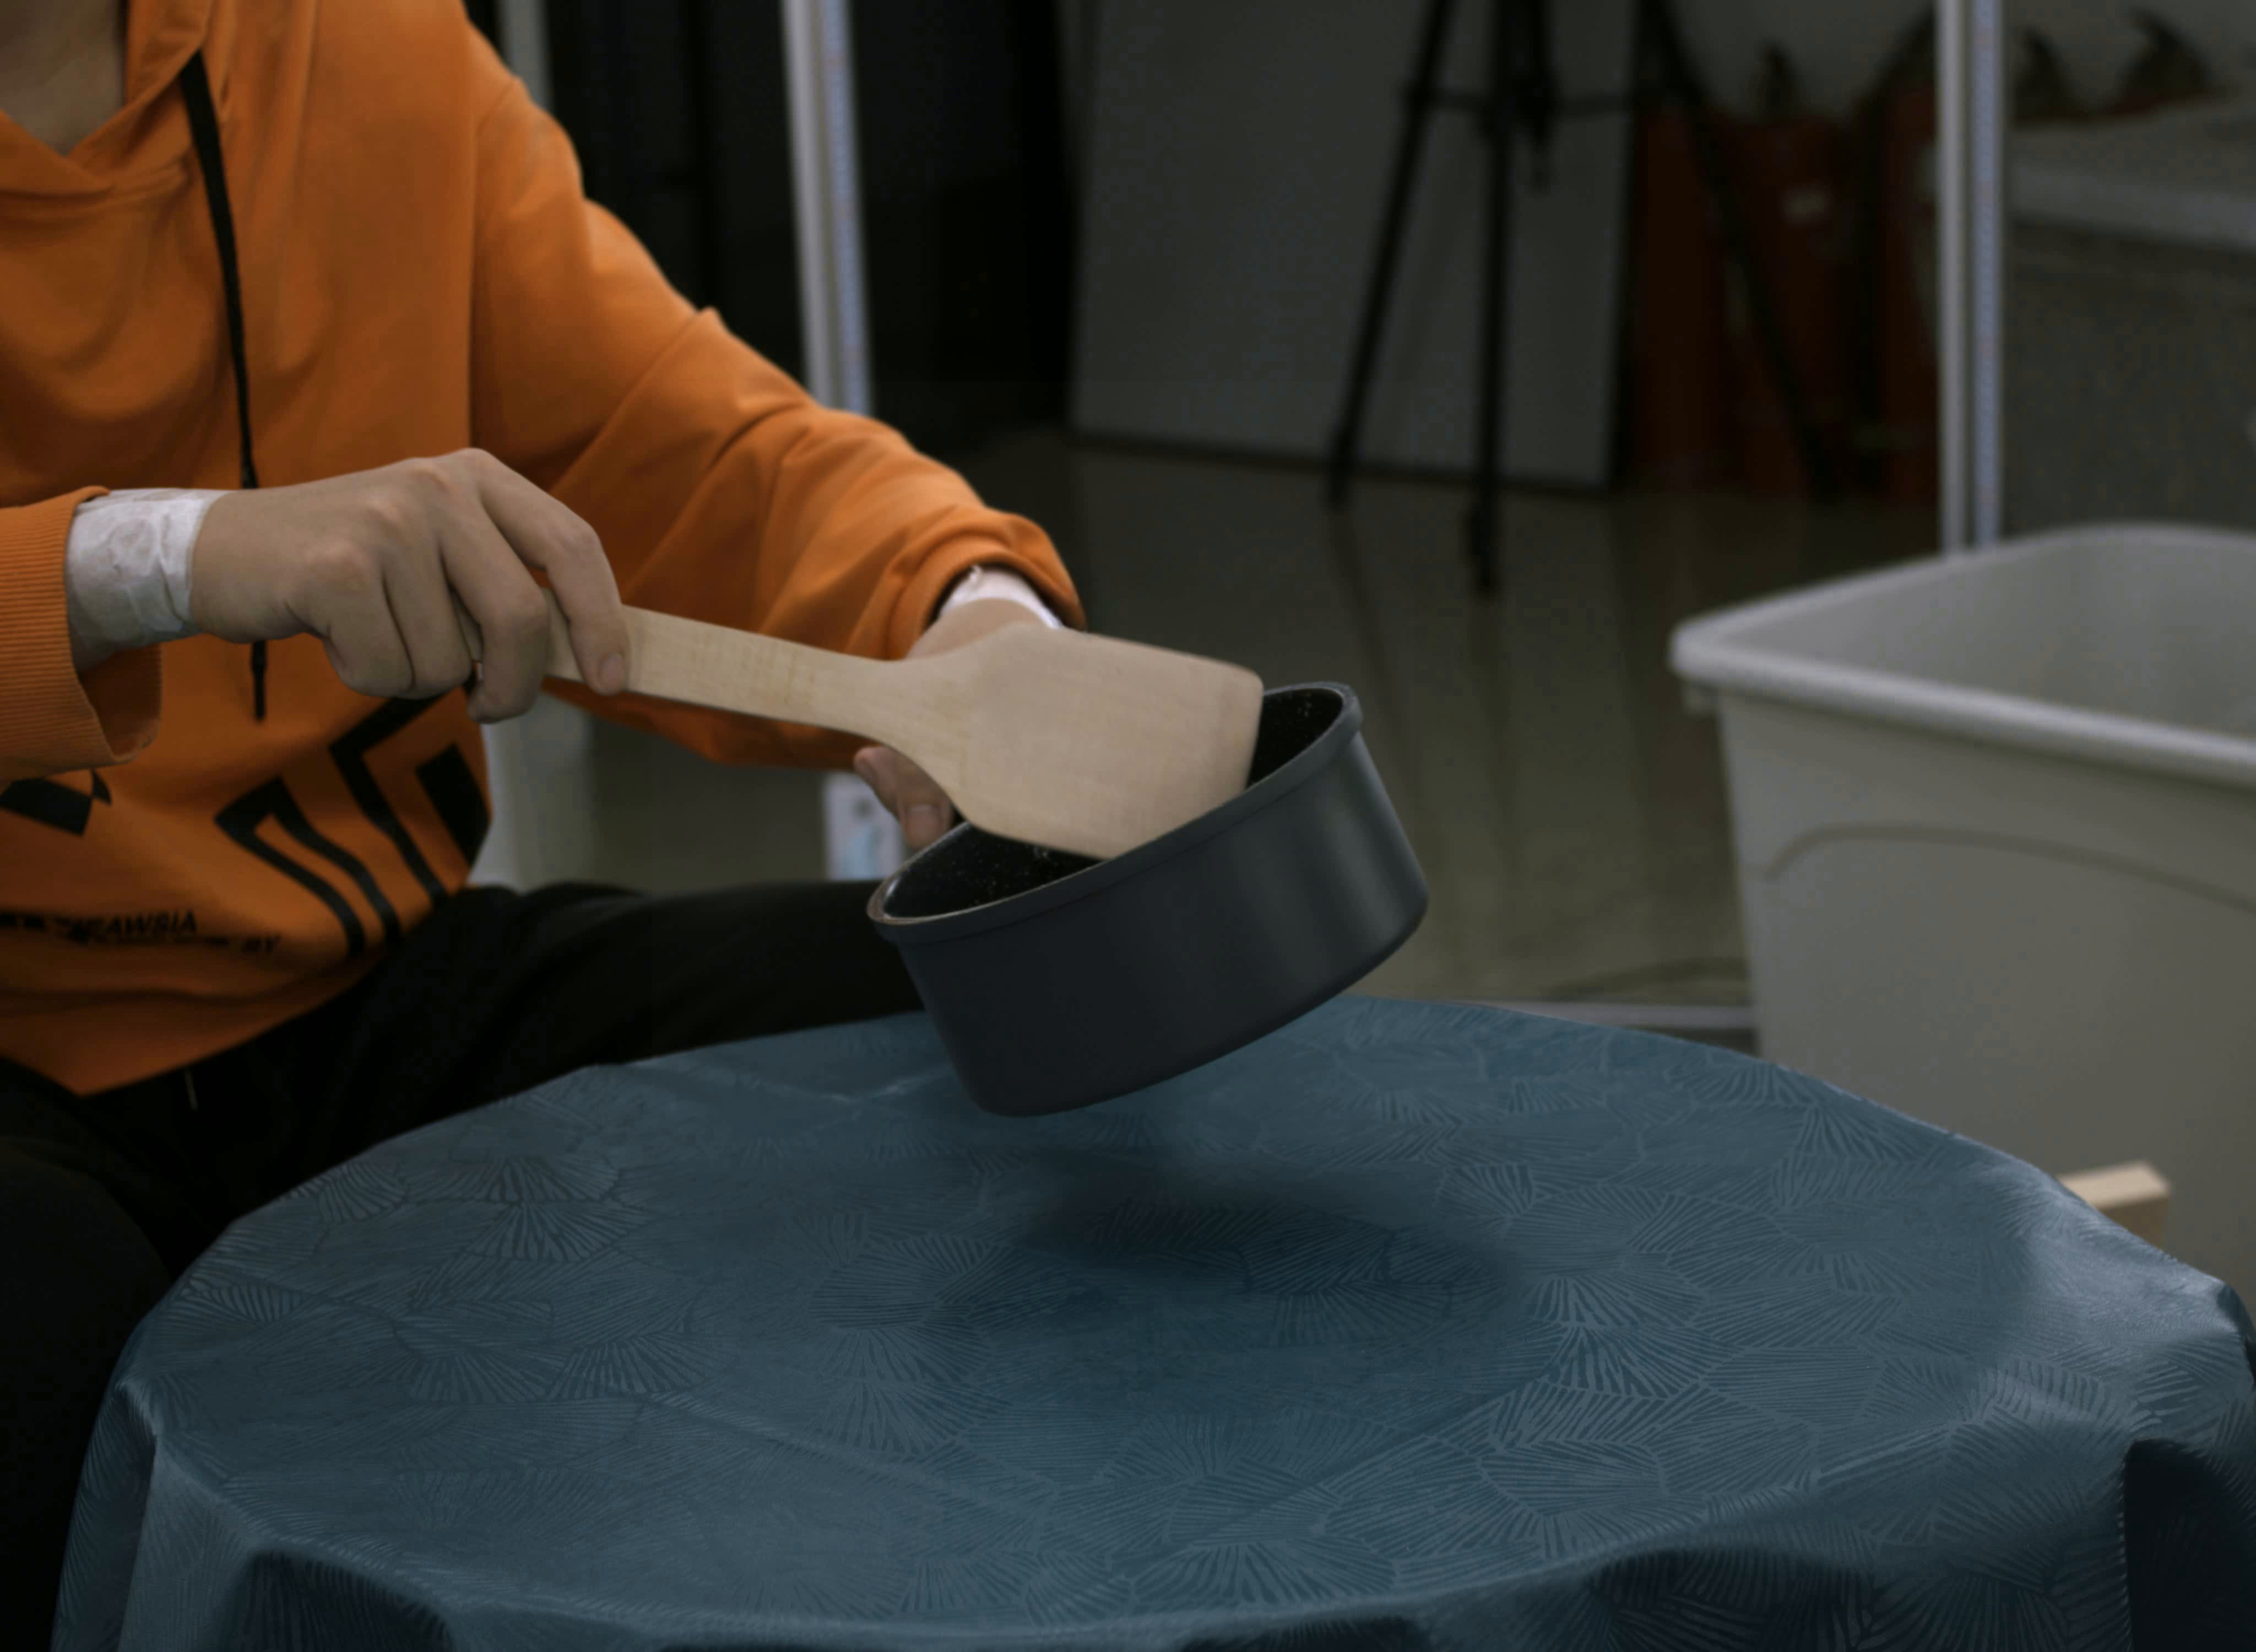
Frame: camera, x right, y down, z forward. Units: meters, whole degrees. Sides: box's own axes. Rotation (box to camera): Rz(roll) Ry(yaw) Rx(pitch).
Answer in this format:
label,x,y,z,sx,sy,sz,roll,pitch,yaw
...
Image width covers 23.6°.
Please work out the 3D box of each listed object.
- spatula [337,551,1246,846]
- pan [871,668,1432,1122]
label,x,y,z,sx,sy,sz,roll,pitch,yaw
spatula,-0.108,-0.050,1.707,0.290,0.073,0.010,11,-1,6
pan,-0.010,0.013,1.791,0.170,0.087,0.331,-26,12,-9
